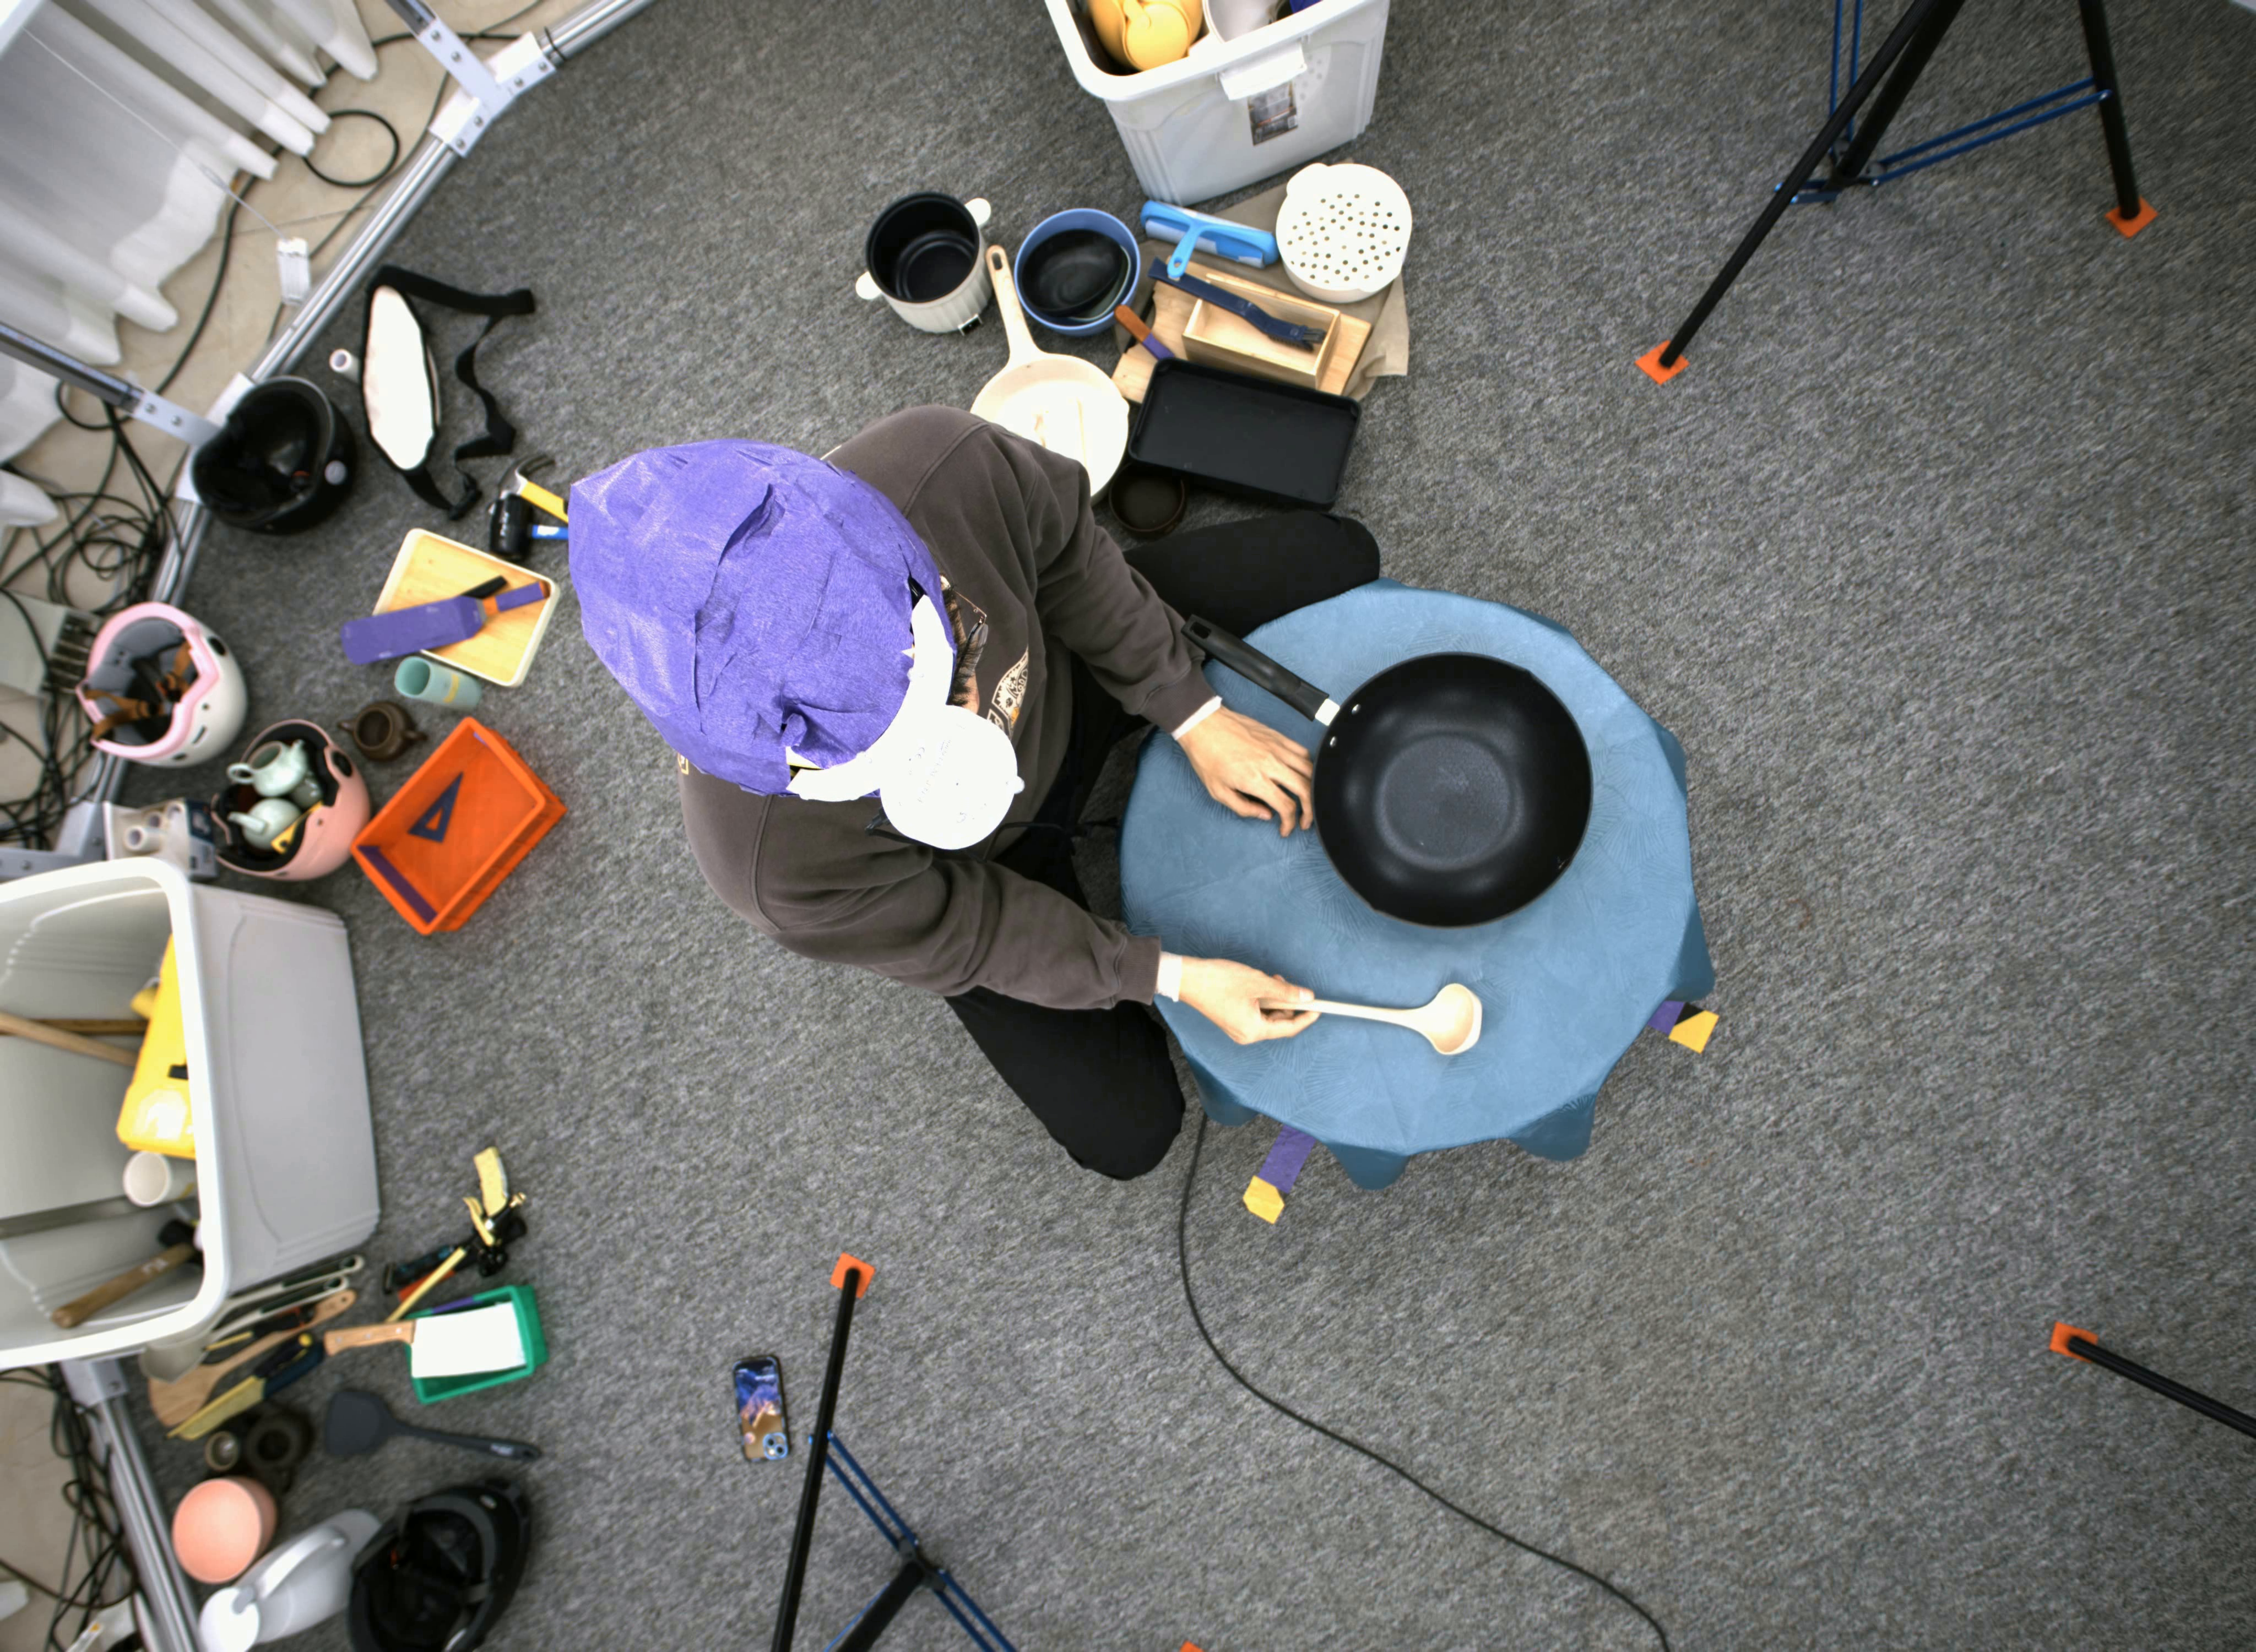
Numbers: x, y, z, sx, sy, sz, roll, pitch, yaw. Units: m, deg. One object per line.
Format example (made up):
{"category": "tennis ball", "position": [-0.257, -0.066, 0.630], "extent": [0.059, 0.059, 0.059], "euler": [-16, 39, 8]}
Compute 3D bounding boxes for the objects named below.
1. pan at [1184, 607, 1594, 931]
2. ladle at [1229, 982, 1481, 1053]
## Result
{"category": "pan", "position": [0.253, -0.084, 1.426], "extent": [0.462, 0.087, 0.289], "euler": [34, 94, 11]}
{"category": "ladle", "position": [0.231, 0.186, 1.410], "extent": [0.255, 0.073, 0.071], "euler": [4, 82, 3]}
